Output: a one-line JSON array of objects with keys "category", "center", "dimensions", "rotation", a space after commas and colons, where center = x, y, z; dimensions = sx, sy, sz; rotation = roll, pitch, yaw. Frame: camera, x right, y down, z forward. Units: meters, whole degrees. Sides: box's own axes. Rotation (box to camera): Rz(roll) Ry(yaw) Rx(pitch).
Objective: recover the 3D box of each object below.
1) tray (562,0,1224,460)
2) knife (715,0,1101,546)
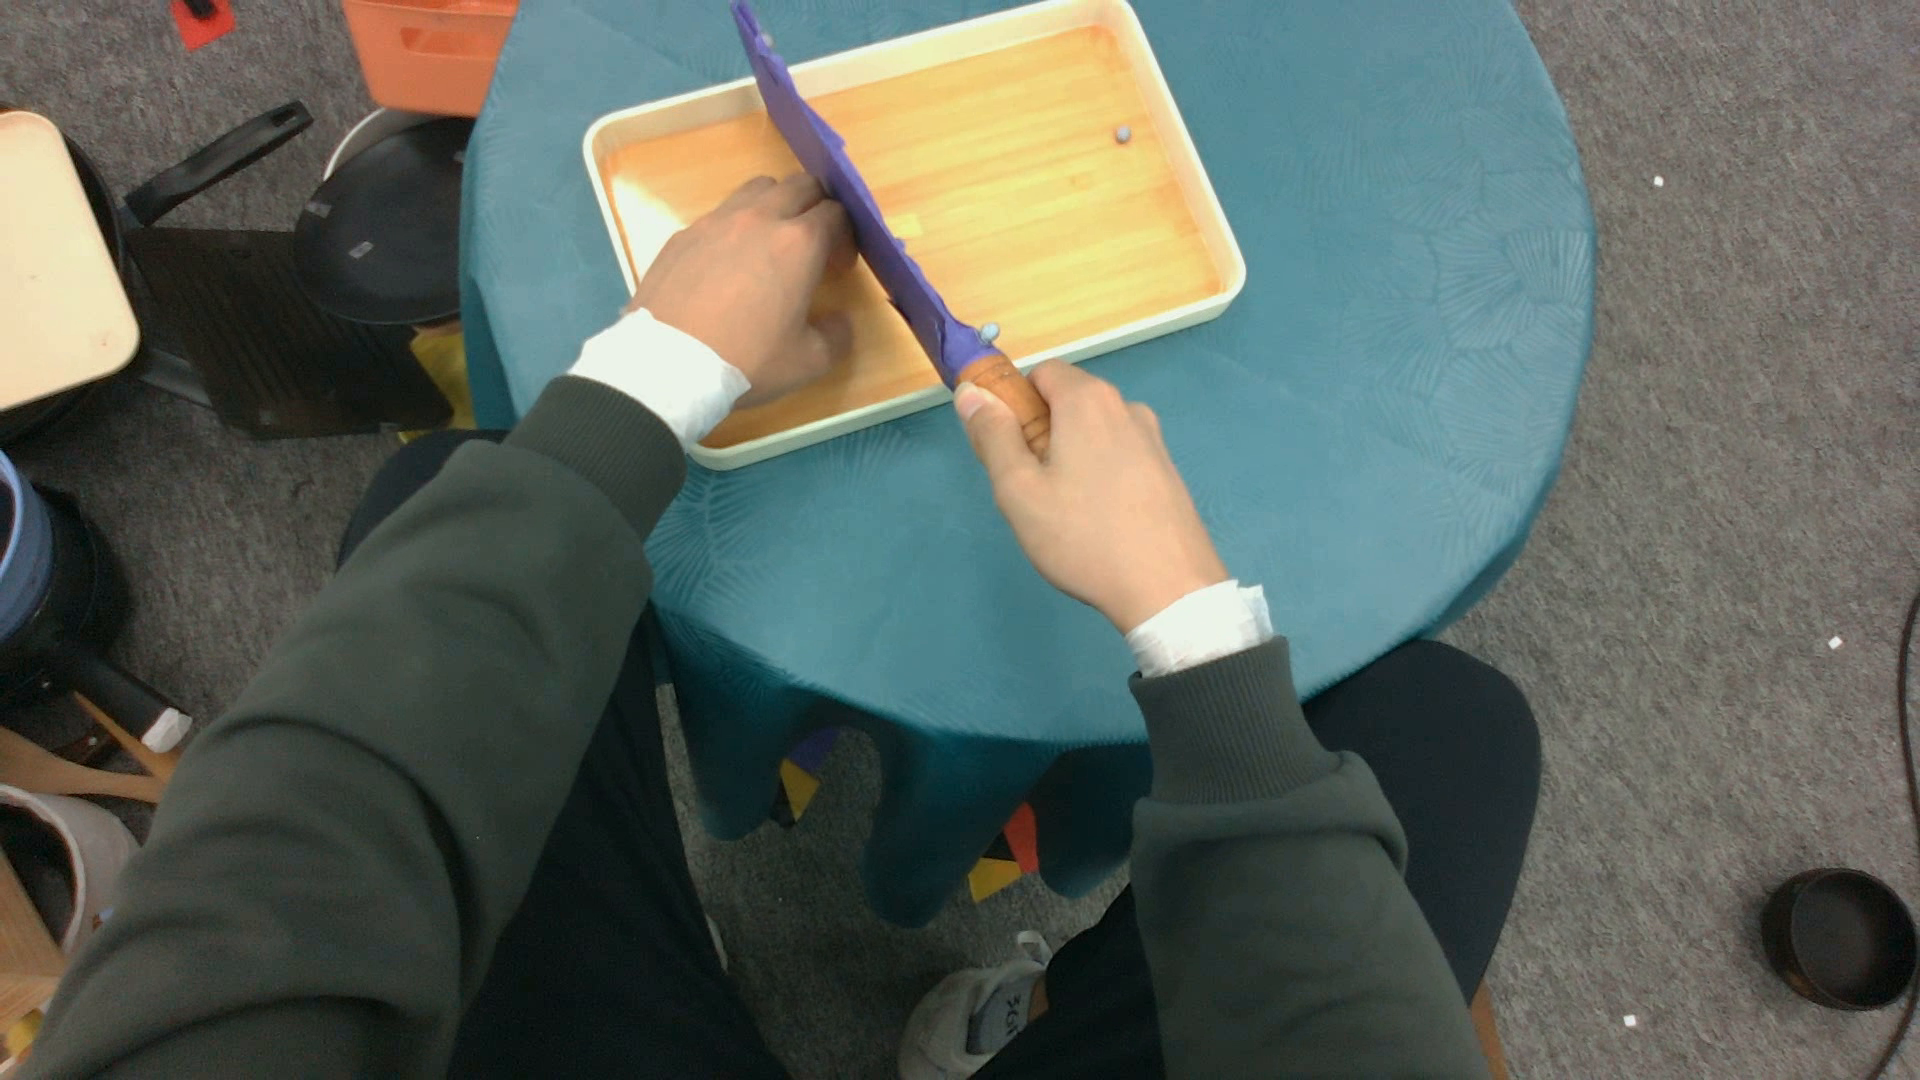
[{"category": "tray", "center": [-0.032, -0.169, 0.707], "dimensions": [0.301, 0.027, 0.192], "rotation": [-19, 76, -12]}, {"category": "knife", "center": [-0.030, -0.124, 0.637], "dimensions": [0.032, 0.103, 0.315], "rotation": [-30, 73, -5]}]
